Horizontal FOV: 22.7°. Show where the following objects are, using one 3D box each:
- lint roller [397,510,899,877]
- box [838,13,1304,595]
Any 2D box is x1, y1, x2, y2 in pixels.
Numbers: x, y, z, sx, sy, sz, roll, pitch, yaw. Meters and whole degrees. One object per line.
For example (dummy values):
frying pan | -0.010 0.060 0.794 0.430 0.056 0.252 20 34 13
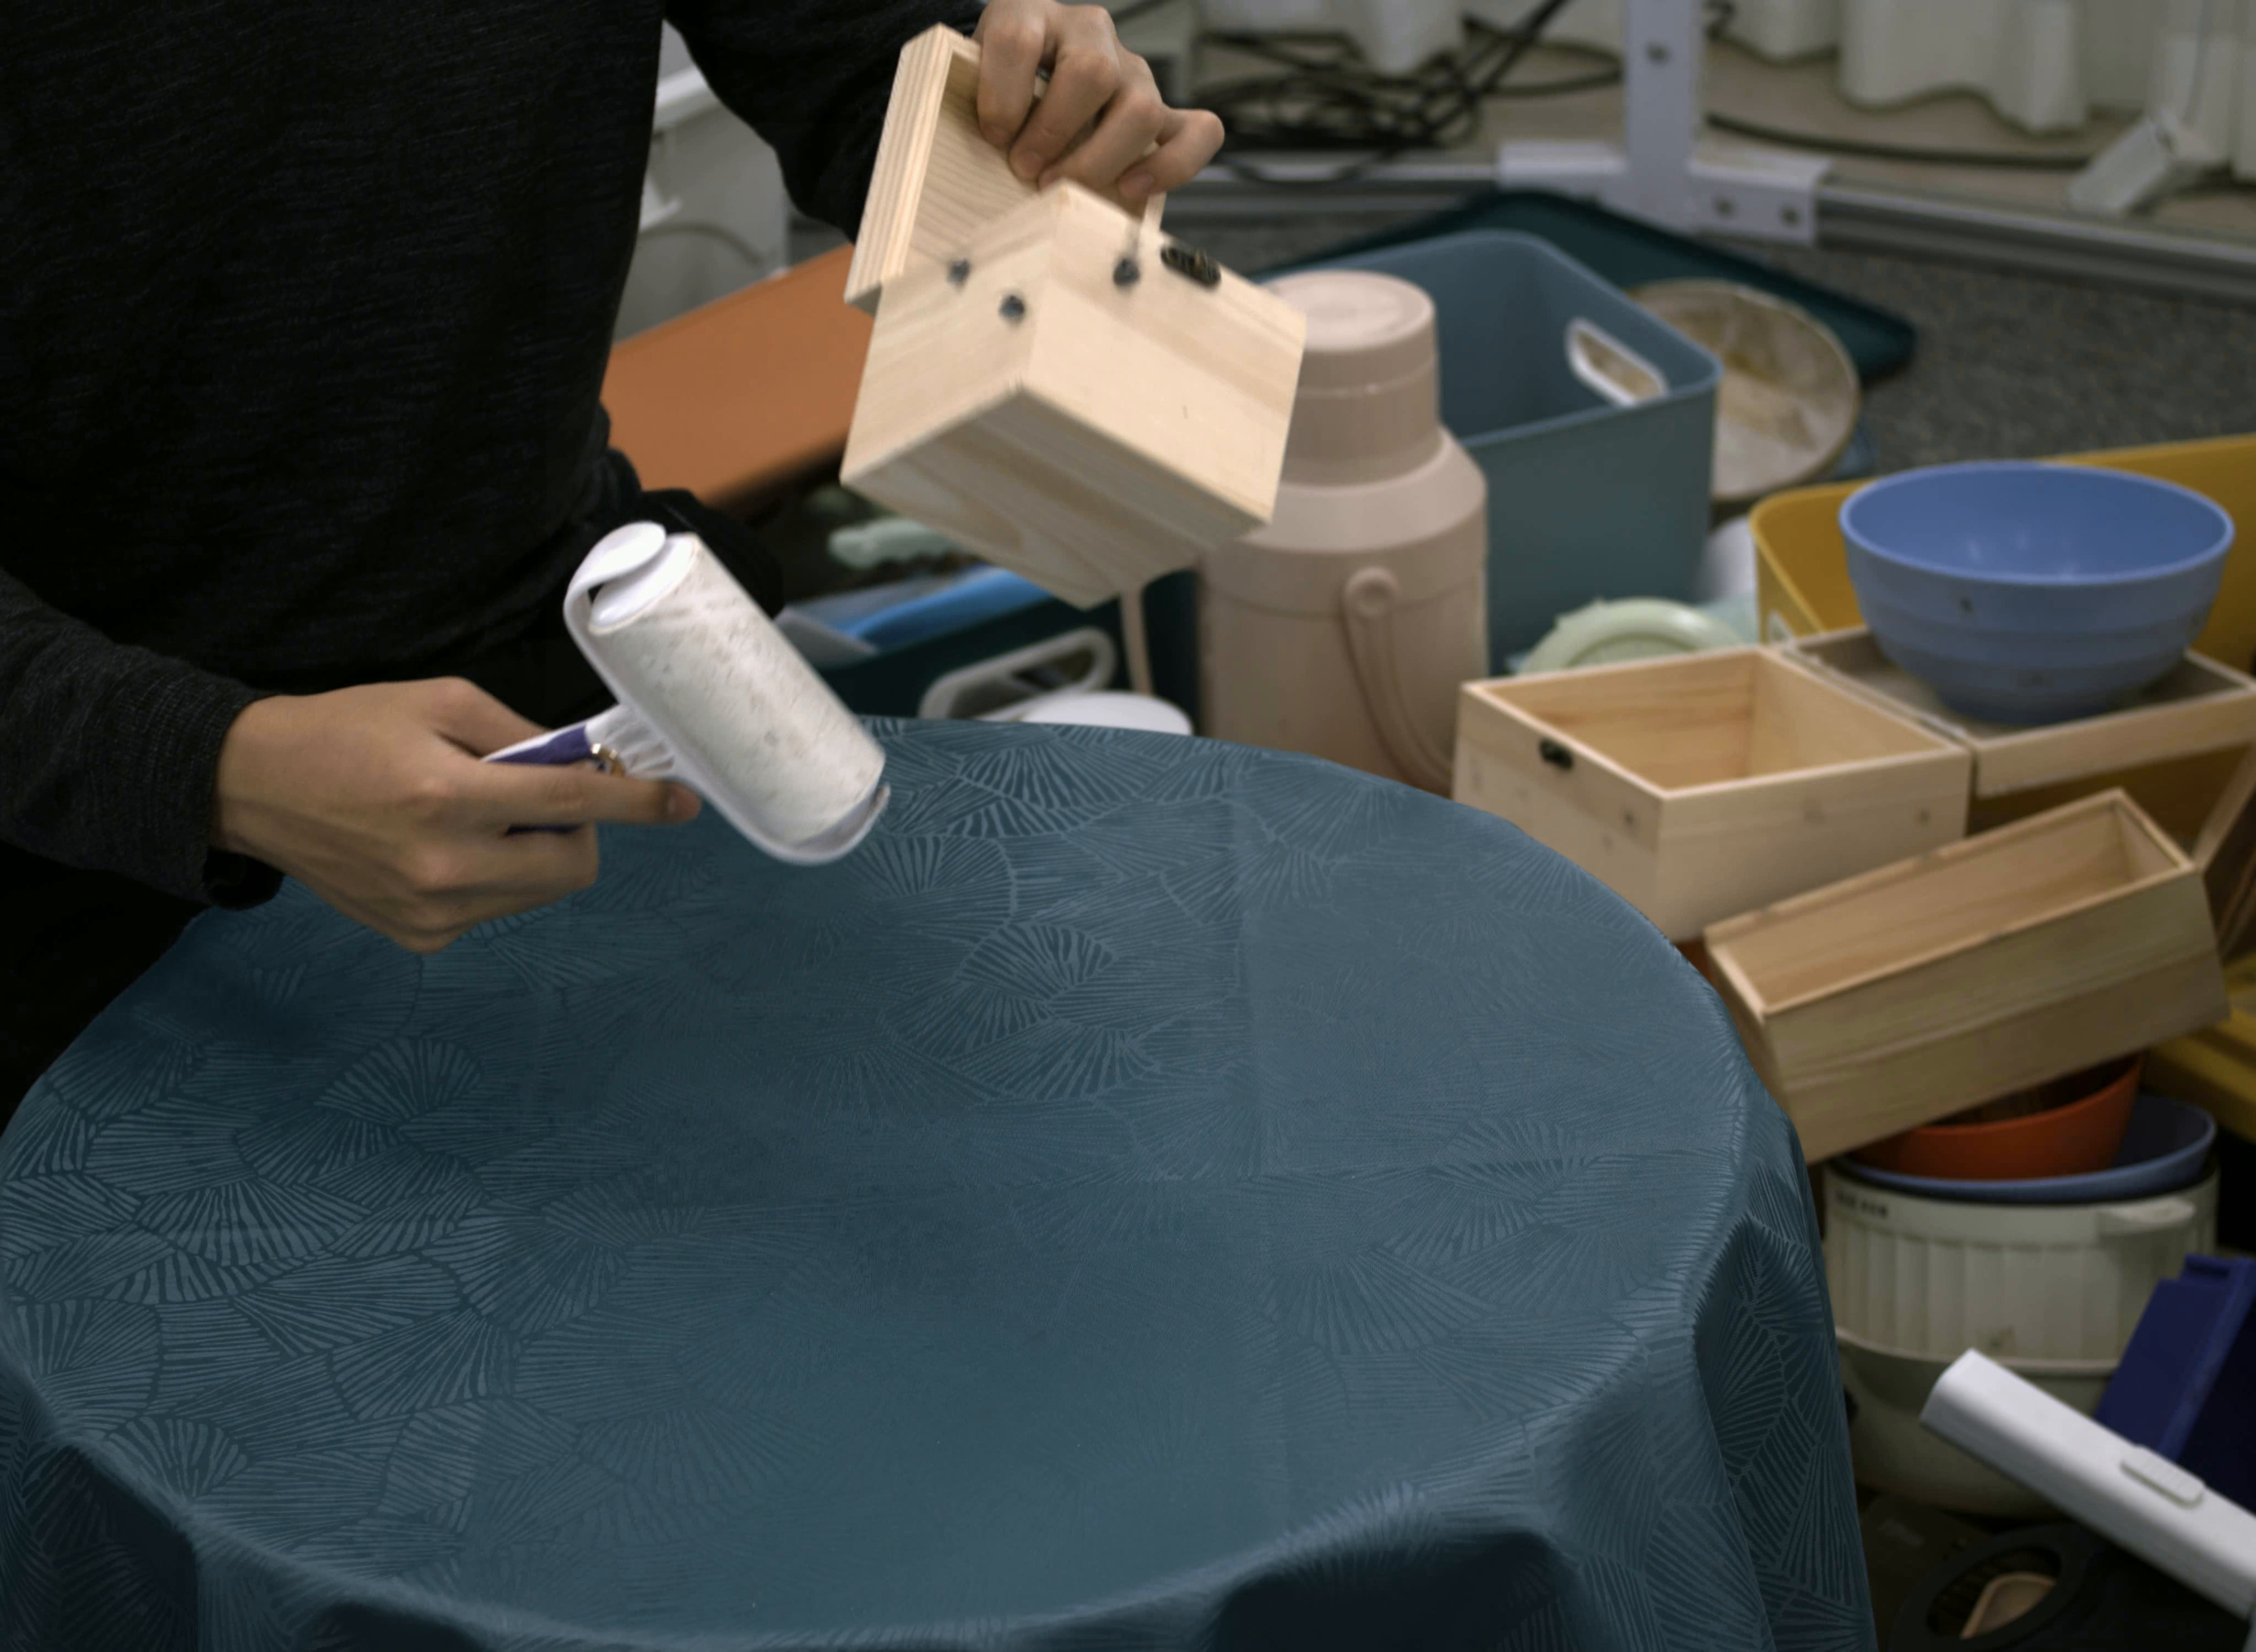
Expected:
lint roller | -0.178 -0.021 1.865 0.178 0.132 0.051 -29 27 21
box | -0.014 -0.187 1.844 0.132 0.102 0.188 -25 44 47
